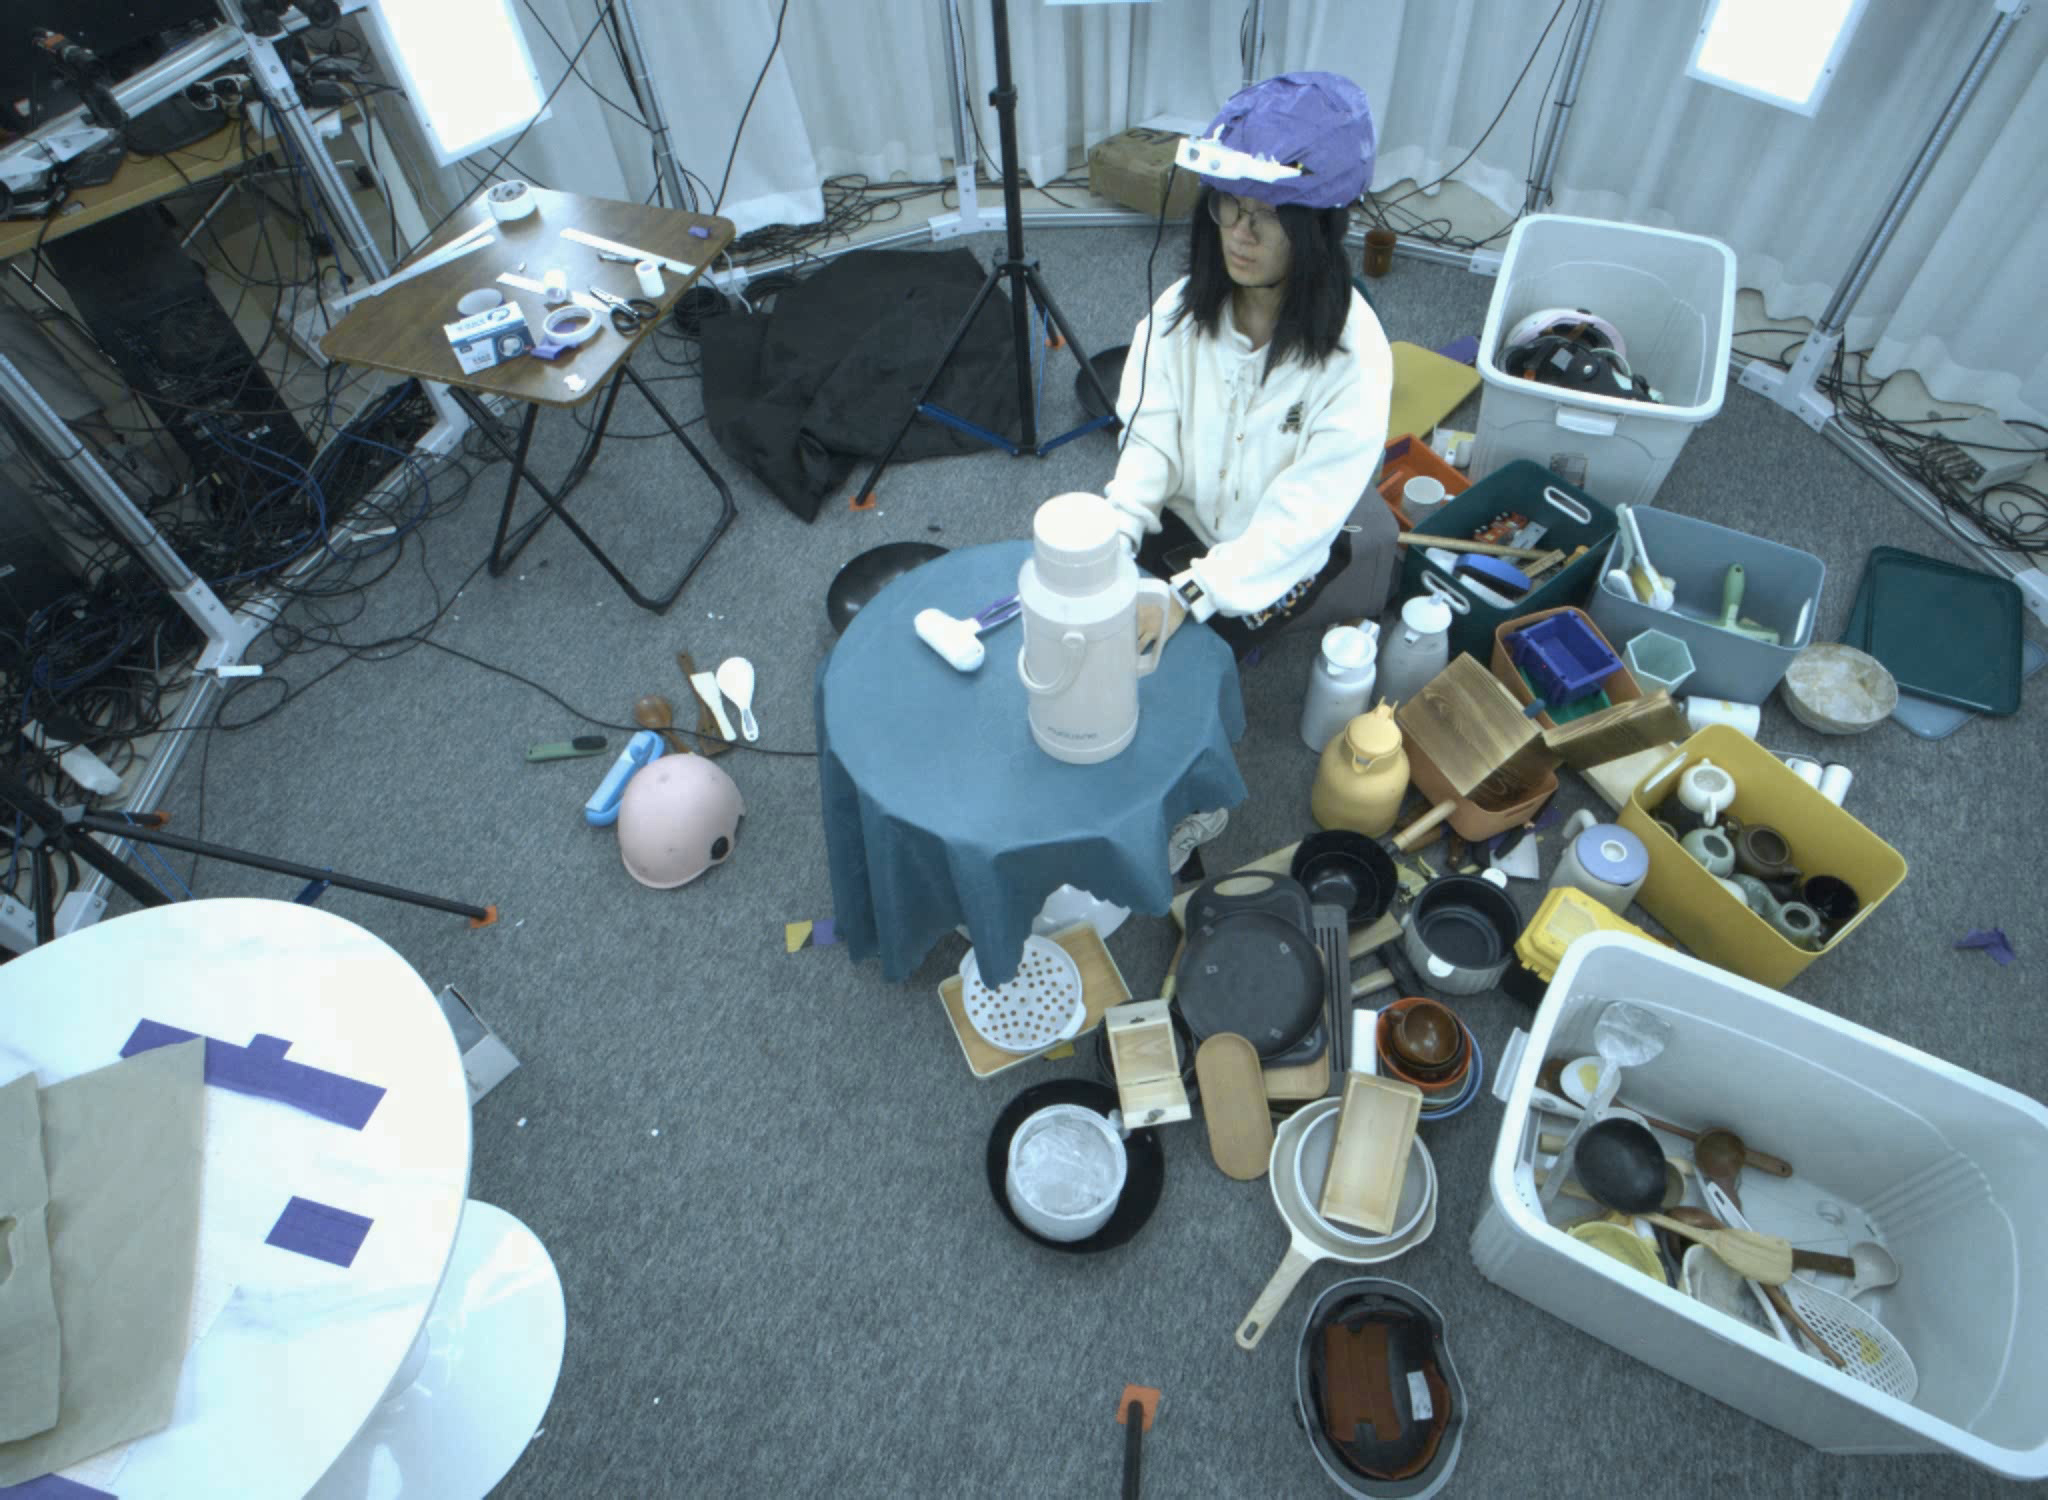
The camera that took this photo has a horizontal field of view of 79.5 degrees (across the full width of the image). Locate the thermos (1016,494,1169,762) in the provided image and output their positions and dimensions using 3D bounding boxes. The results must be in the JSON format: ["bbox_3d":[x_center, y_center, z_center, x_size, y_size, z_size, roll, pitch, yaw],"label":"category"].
[{"bbox_3d":[0.088,-0.158,1.653,0.206,0.411,0.174,2,54,5],"label":"thermos"}]

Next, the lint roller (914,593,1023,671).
[{"bbox_3d":[-0.068,-0.203,1.905,0.182,0.051,0.130,-36,60,-18],"label":"lint roller"}]
